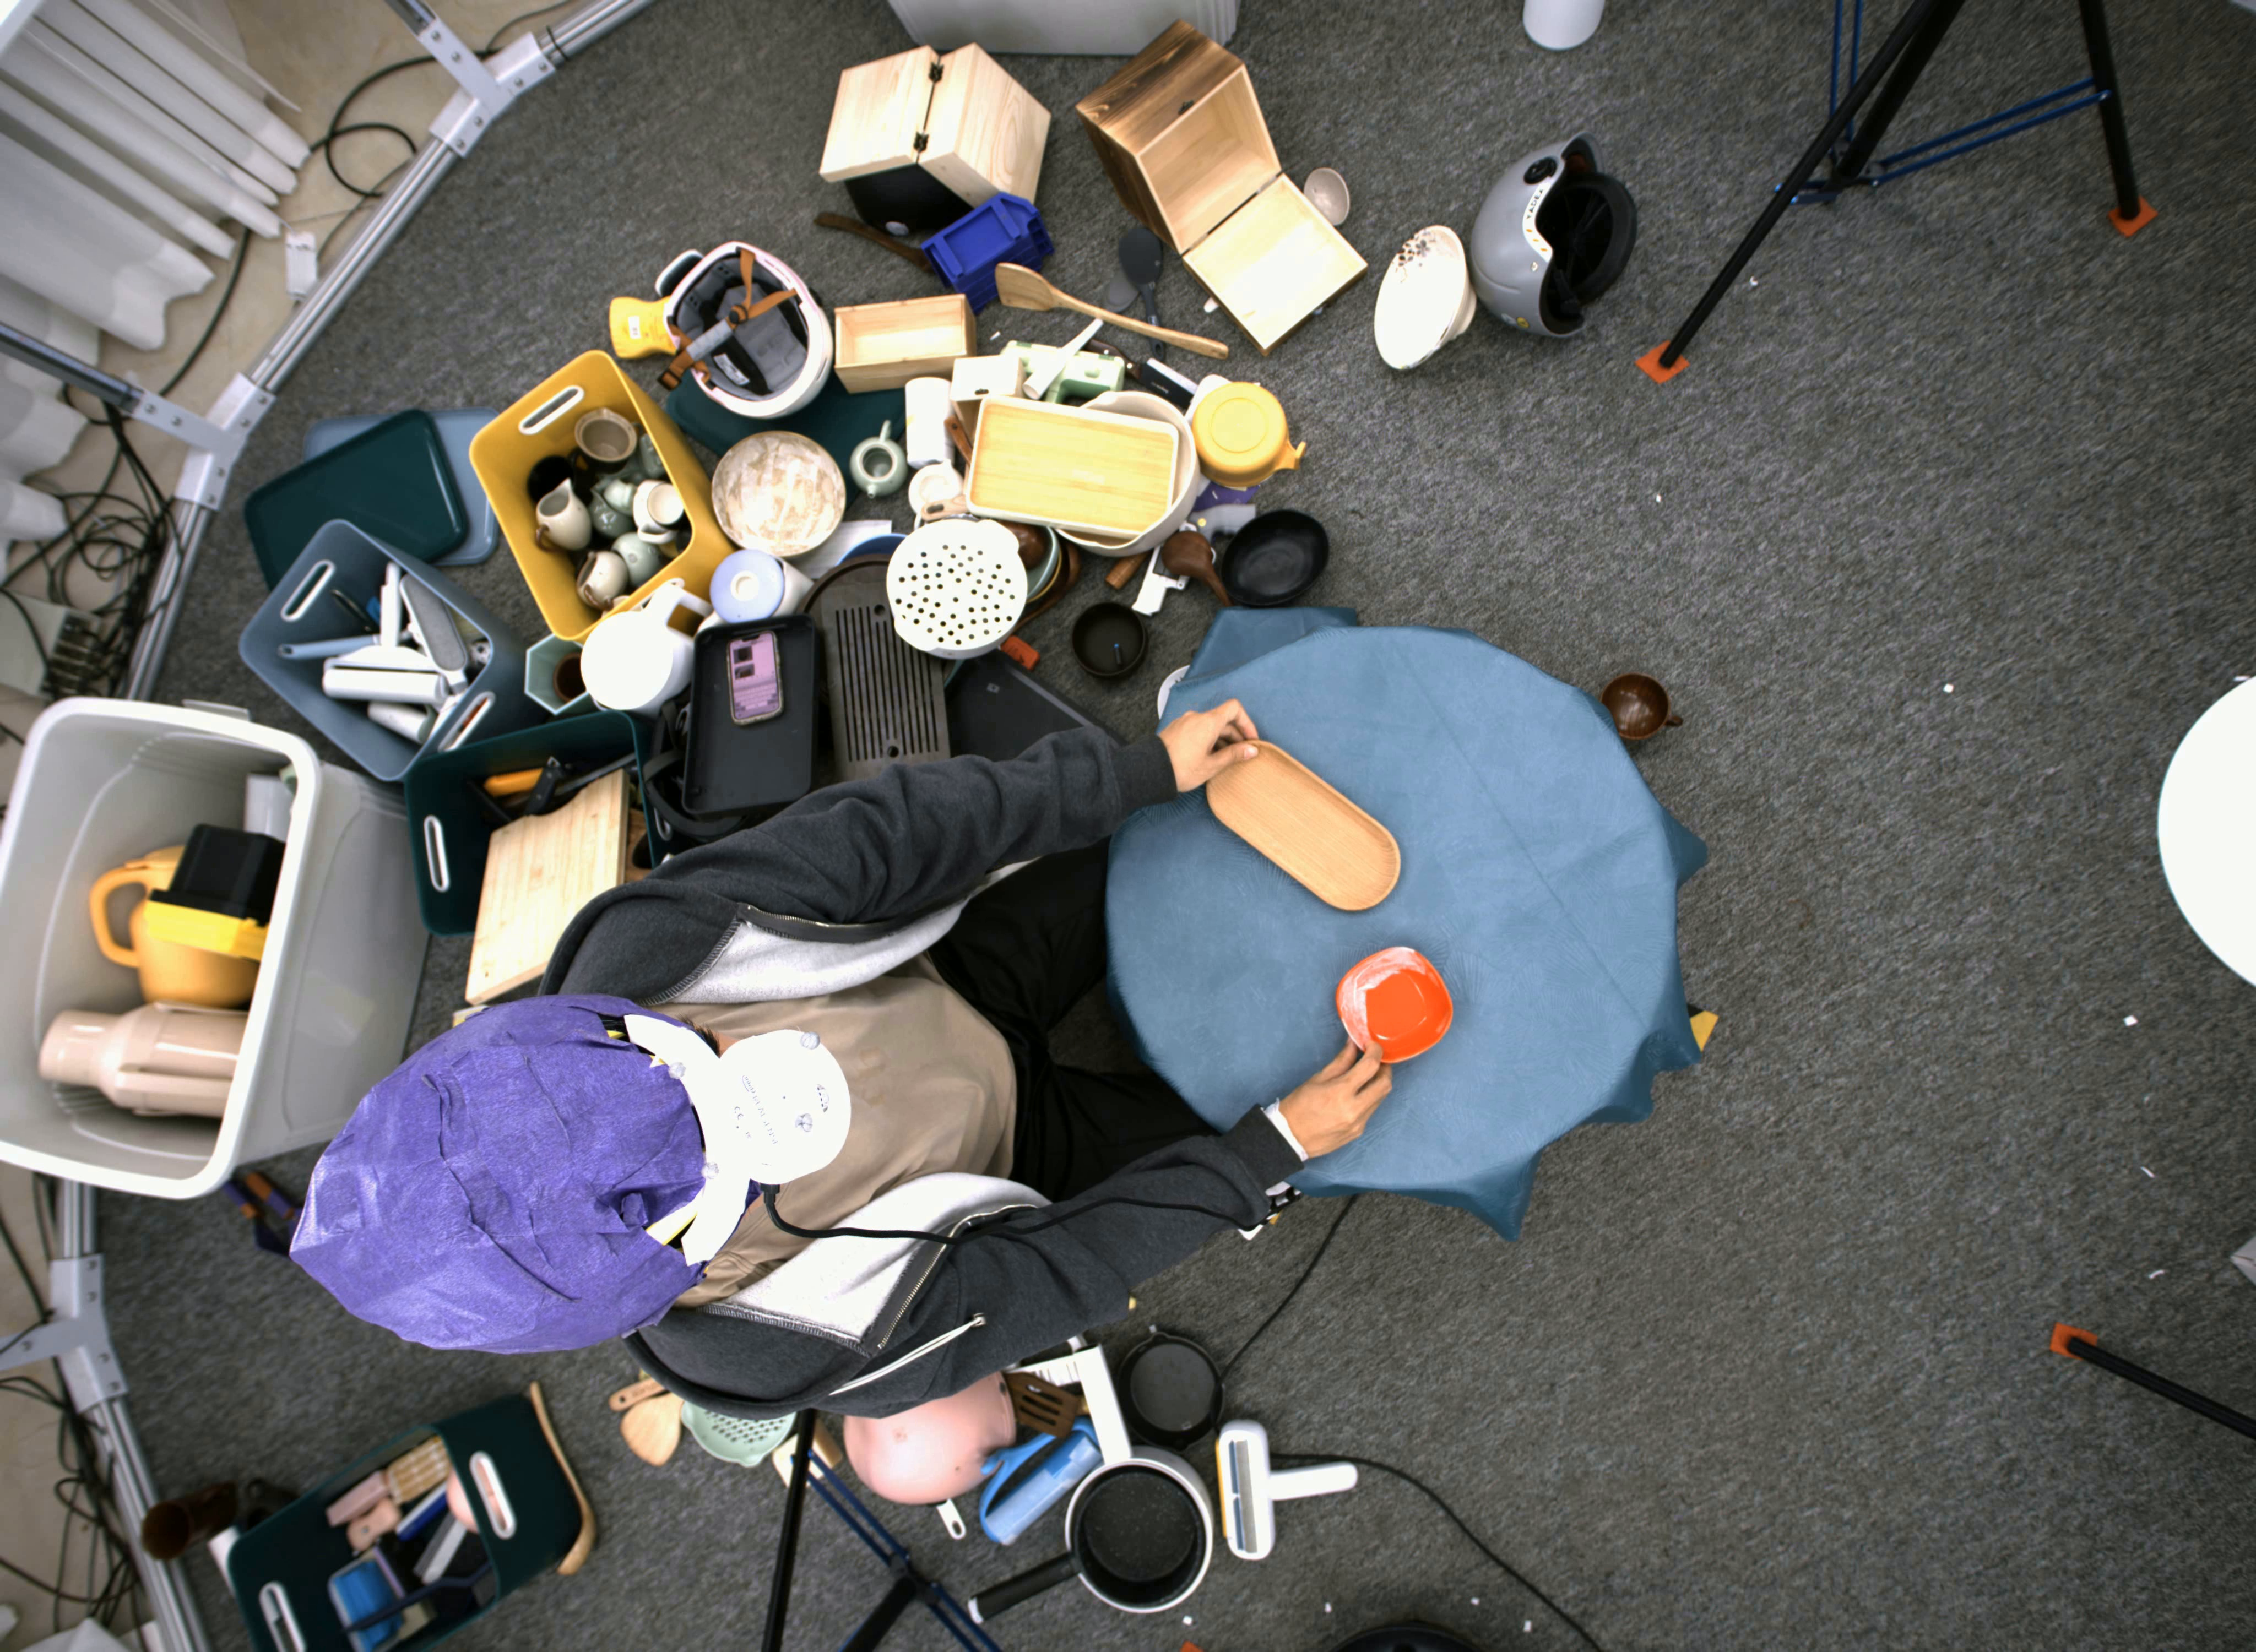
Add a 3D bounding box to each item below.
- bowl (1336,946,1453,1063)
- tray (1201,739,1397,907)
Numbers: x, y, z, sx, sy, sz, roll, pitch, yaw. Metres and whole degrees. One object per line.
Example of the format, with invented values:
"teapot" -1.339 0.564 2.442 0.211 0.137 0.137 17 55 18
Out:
"bowl" 0.272 0.182 1.423 0.119 0.051 0.118 -1 84 6
"tray" 0.181 -0.004 1.462 0.230 0.020 0.102 37 99 8
